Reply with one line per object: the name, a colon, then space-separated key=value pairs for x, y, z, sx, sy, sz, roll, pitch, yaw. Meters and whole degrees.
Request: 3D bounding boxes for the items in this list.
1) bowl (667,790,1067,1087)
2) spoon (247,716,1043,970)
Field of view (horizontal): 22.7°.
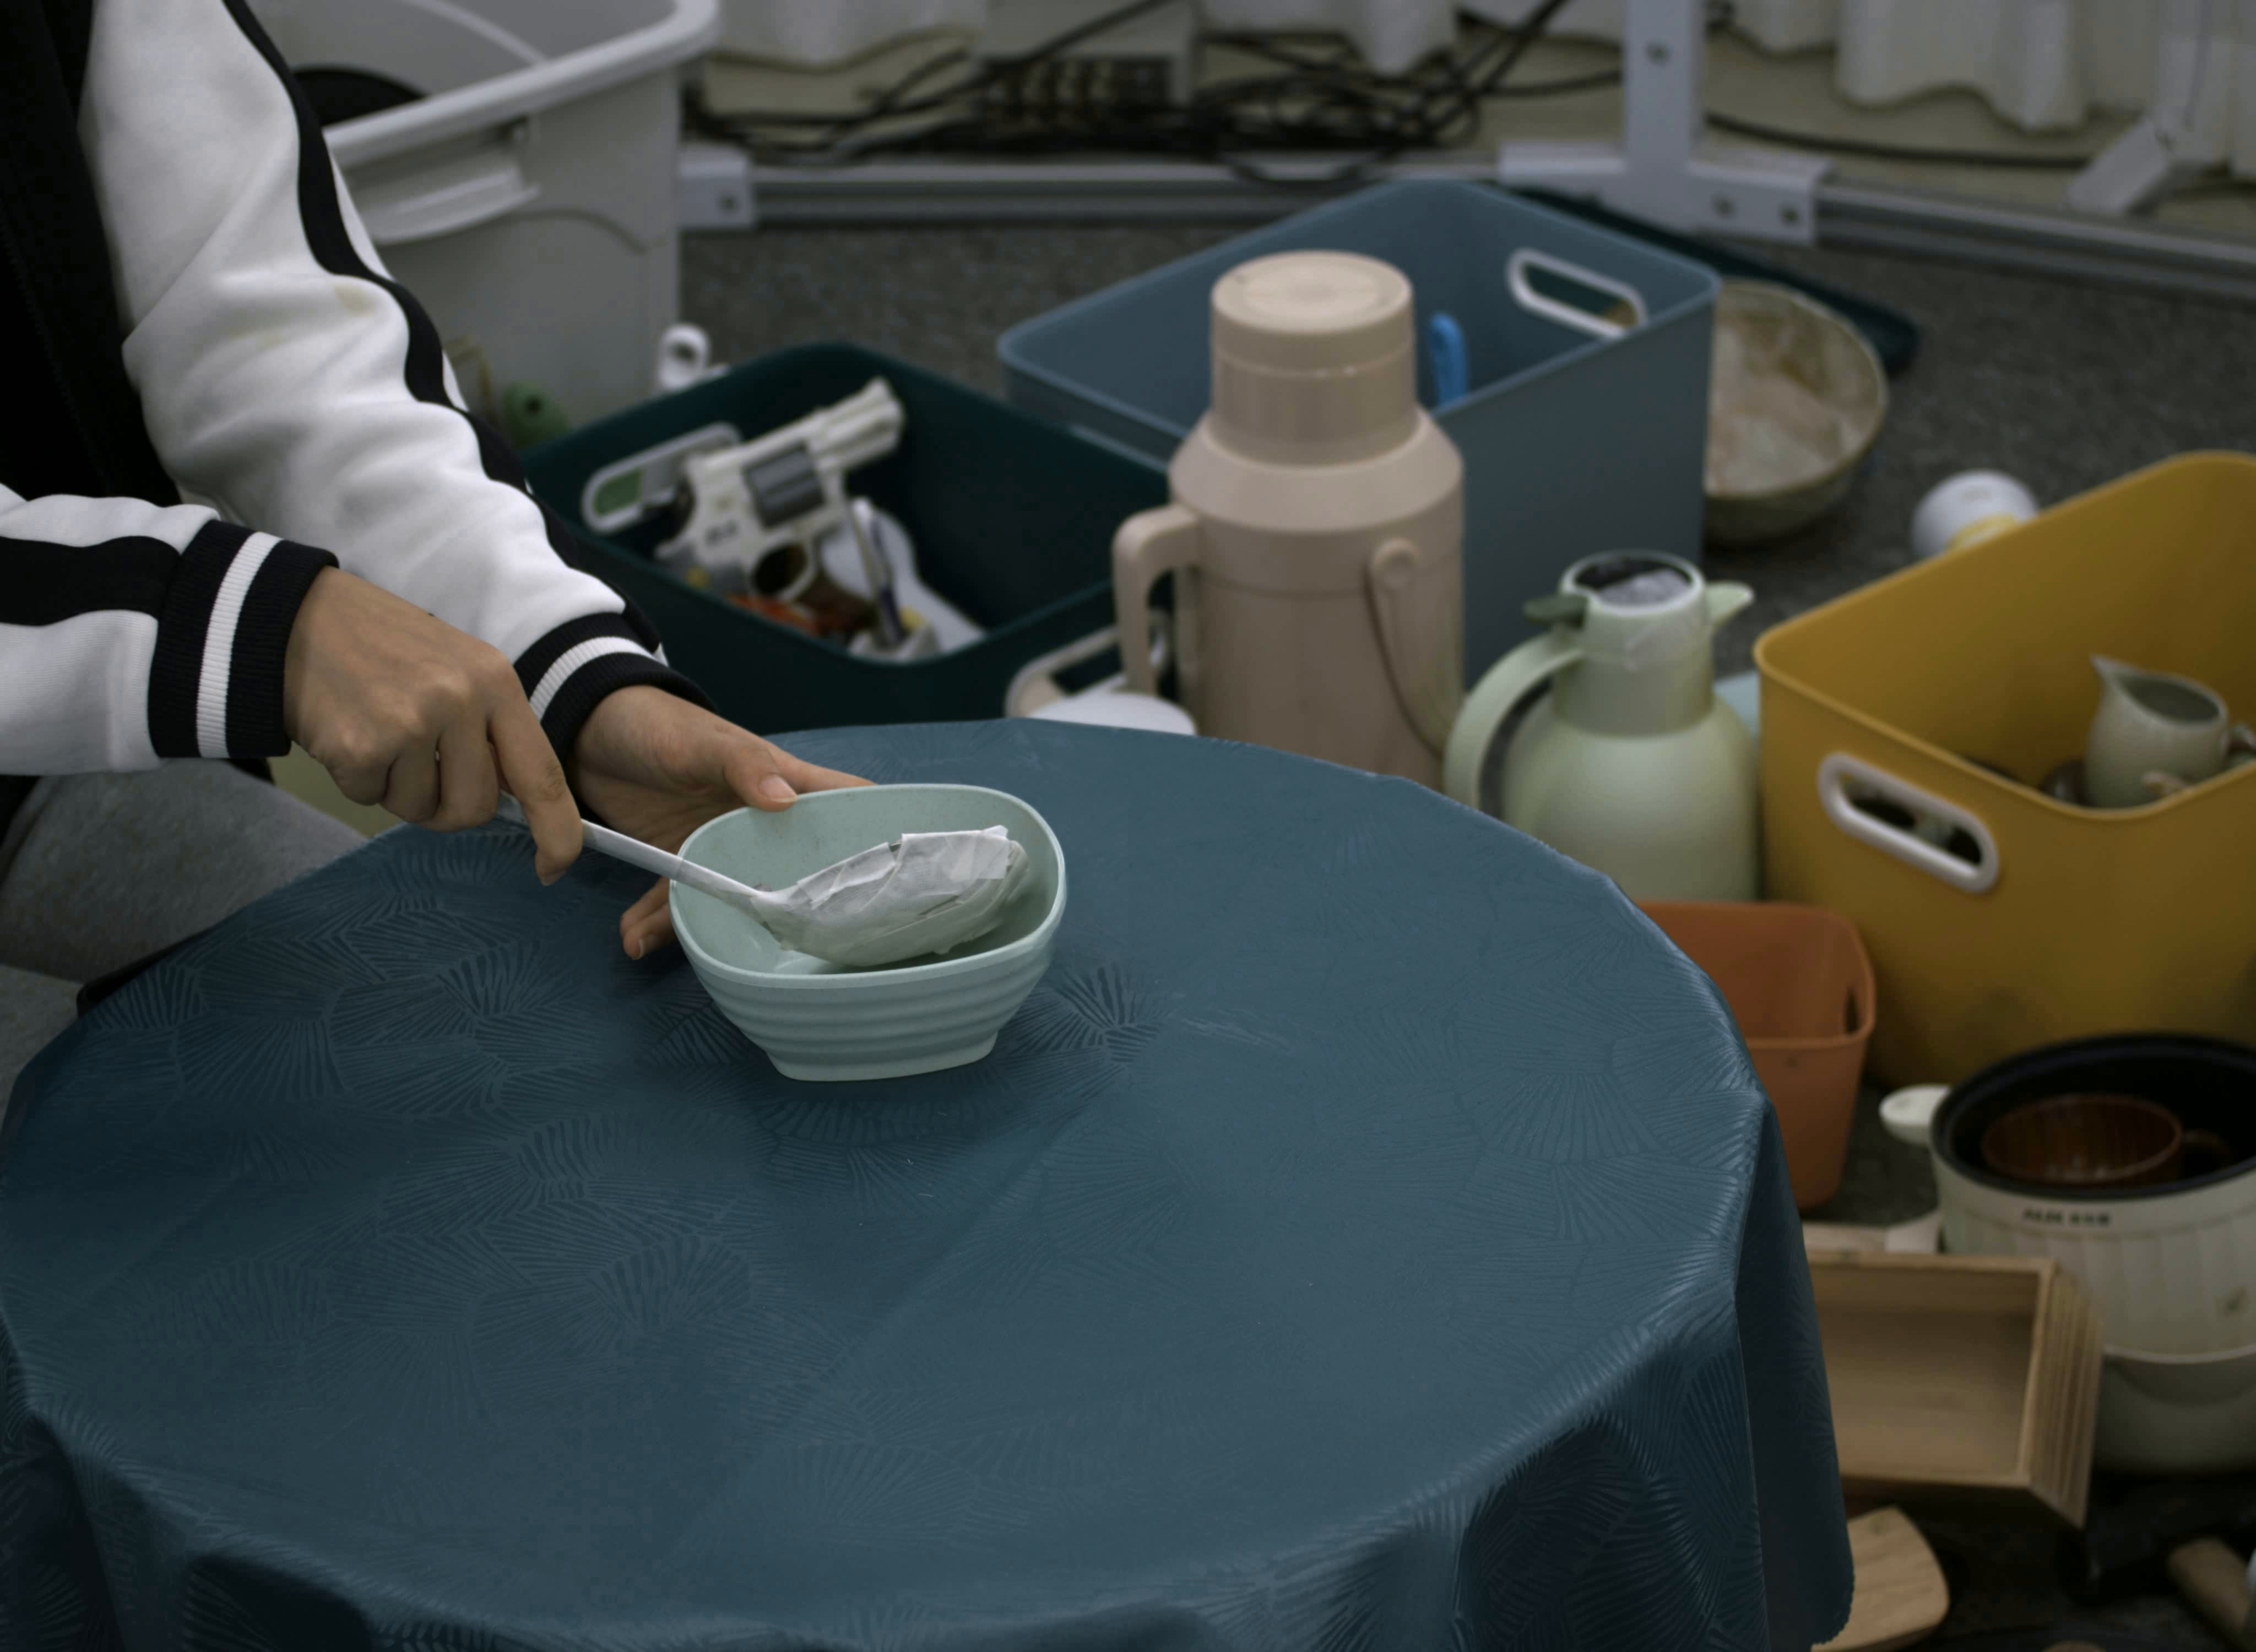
bowl: x=-0.089 y=0.045 z=1.961 sx=0.151 sy=0.058 sz=0.154 roll=-2 pitch=27 yaw=1
spoon: x=-0.169 y=-0.007 z=1.969 sx=0.276 sy=0.099 sz=0.060 roll=19 pitch=55 yaw=1
